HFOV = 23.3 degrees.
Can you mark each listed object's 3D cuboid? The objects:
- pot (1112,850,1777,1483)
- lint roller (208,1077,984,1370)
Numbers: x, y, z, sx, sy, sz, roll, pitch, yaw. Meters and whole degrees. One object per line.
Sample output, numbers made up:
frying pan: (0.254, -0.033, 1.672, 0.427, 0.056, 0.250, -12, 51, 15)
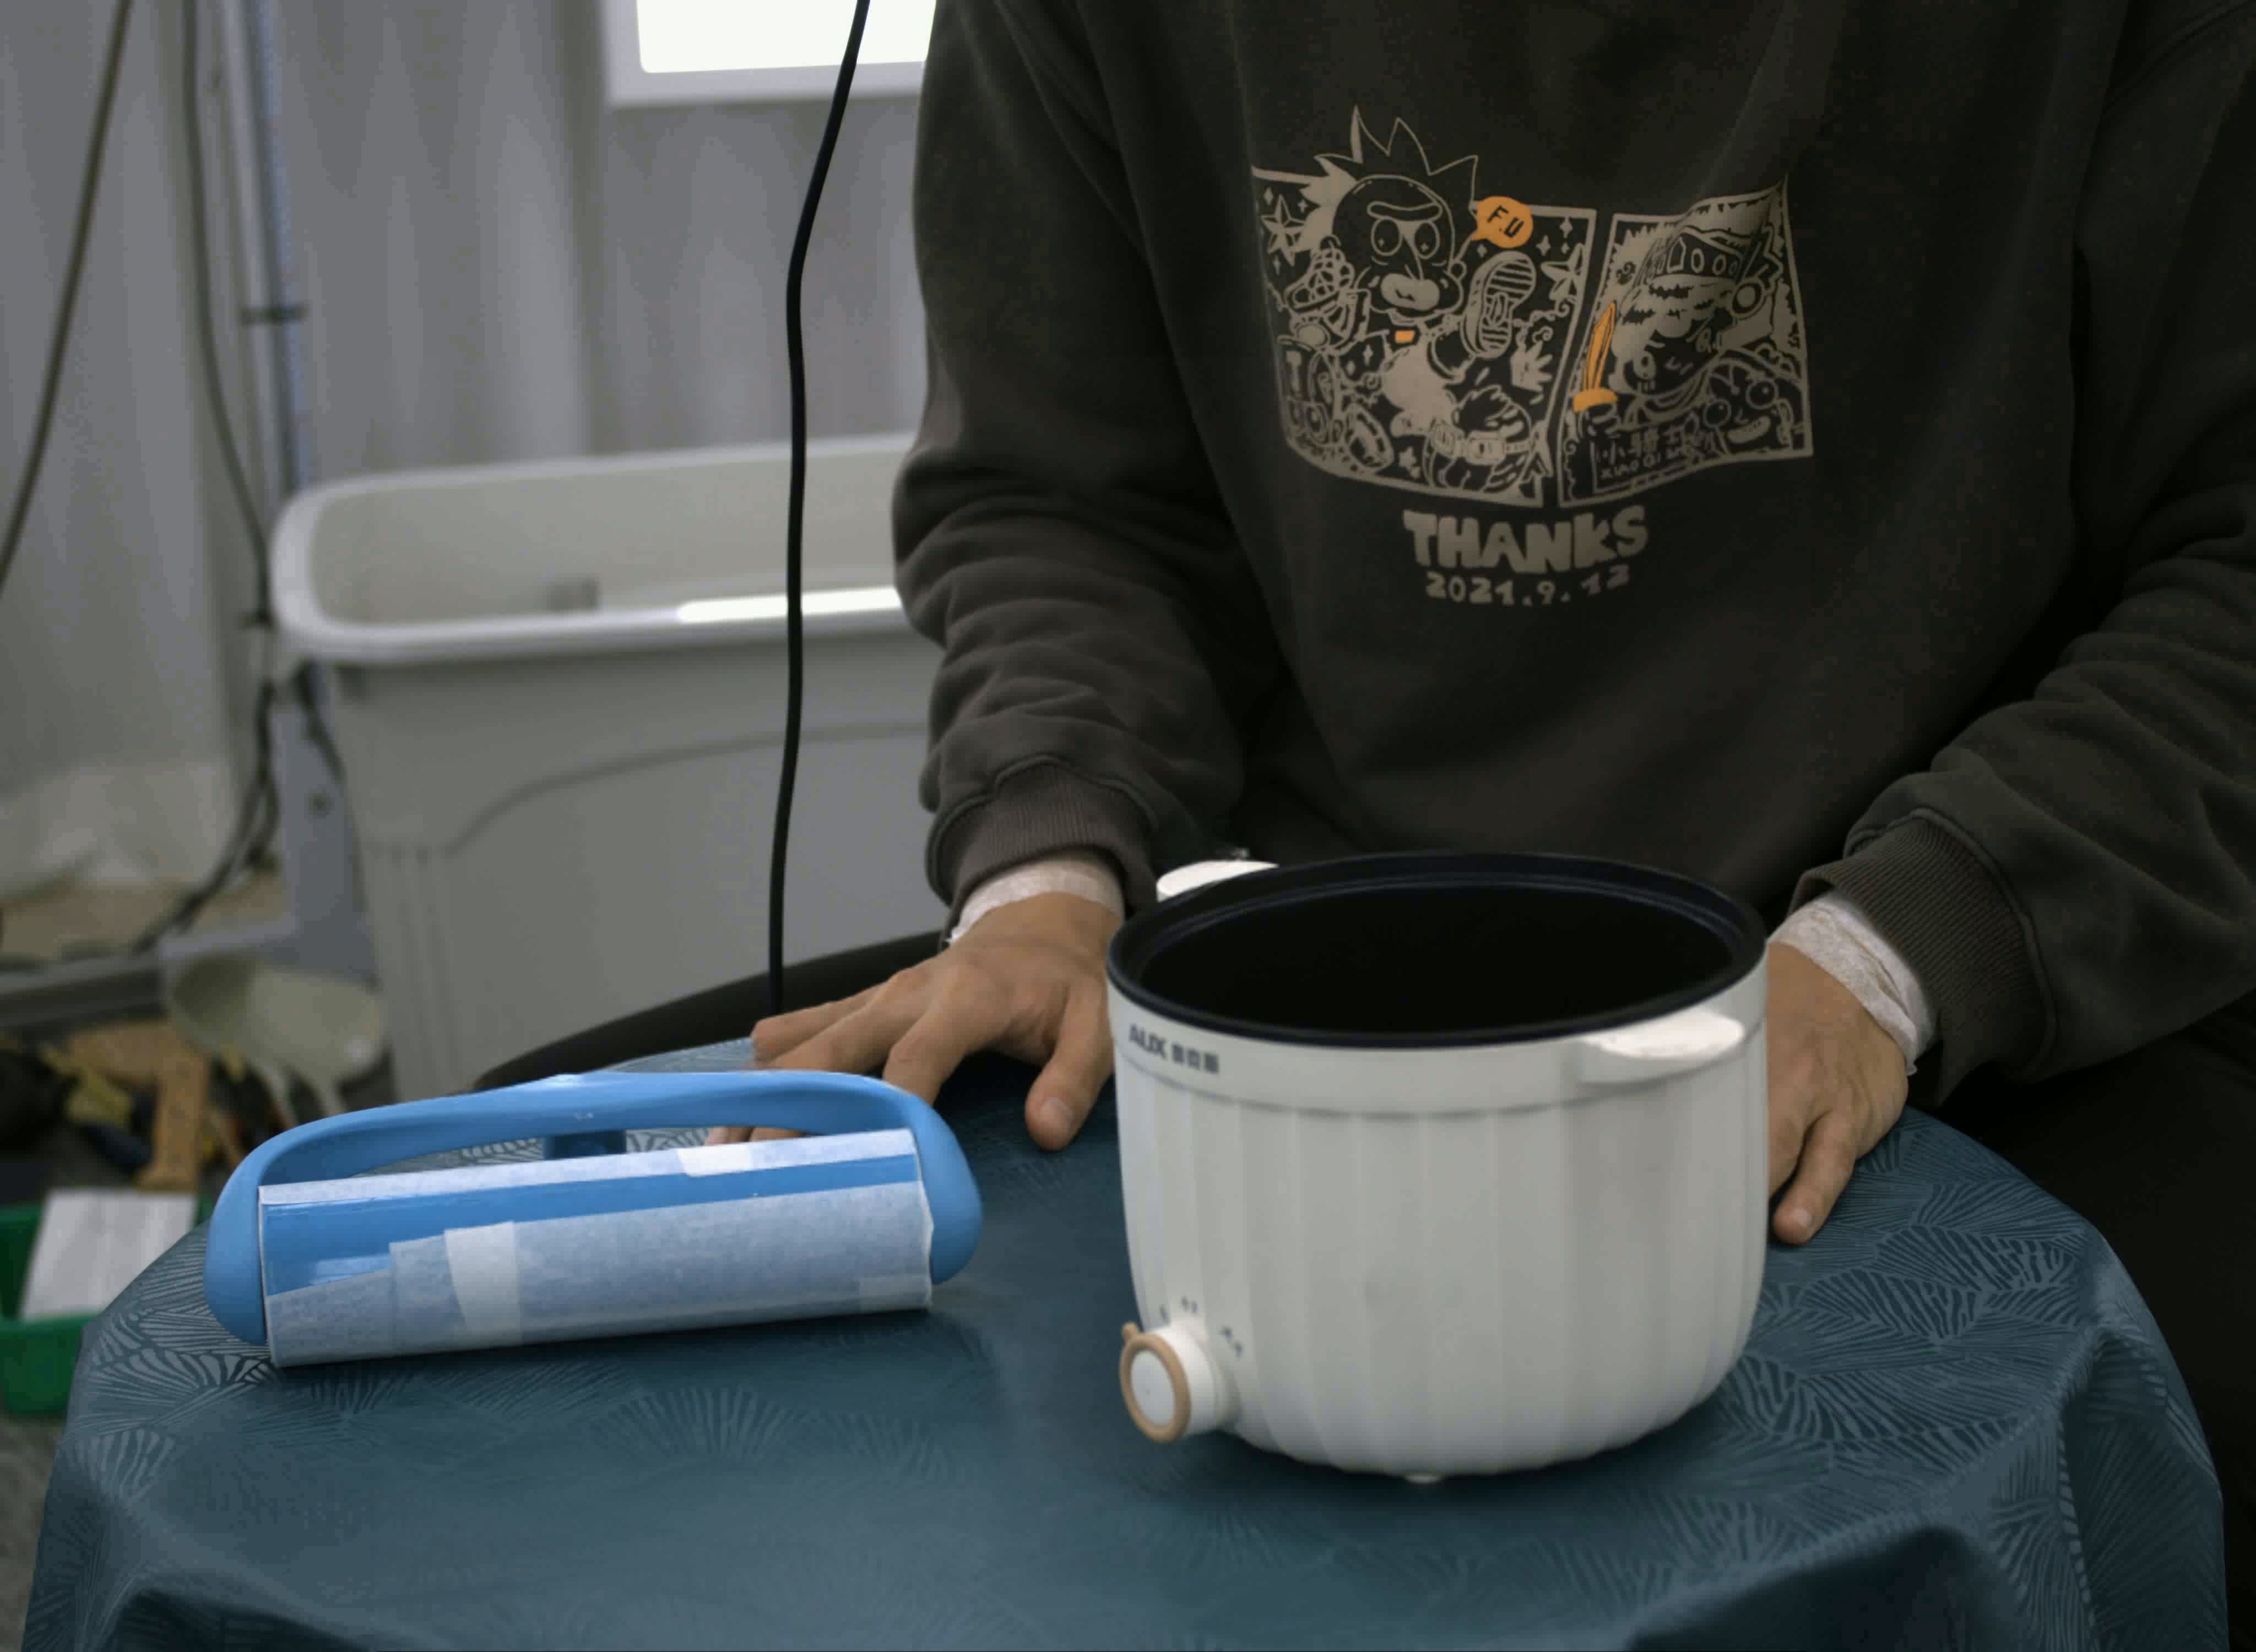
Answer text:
pot: (0.085, 0.096, 1.509, 0.189, 0.142, 0.242, -9, 14, -34)
lint roller: (-0.166, 0.108, 1.670, 0.228, 0.067, 0.182, -7, 16, -8)
